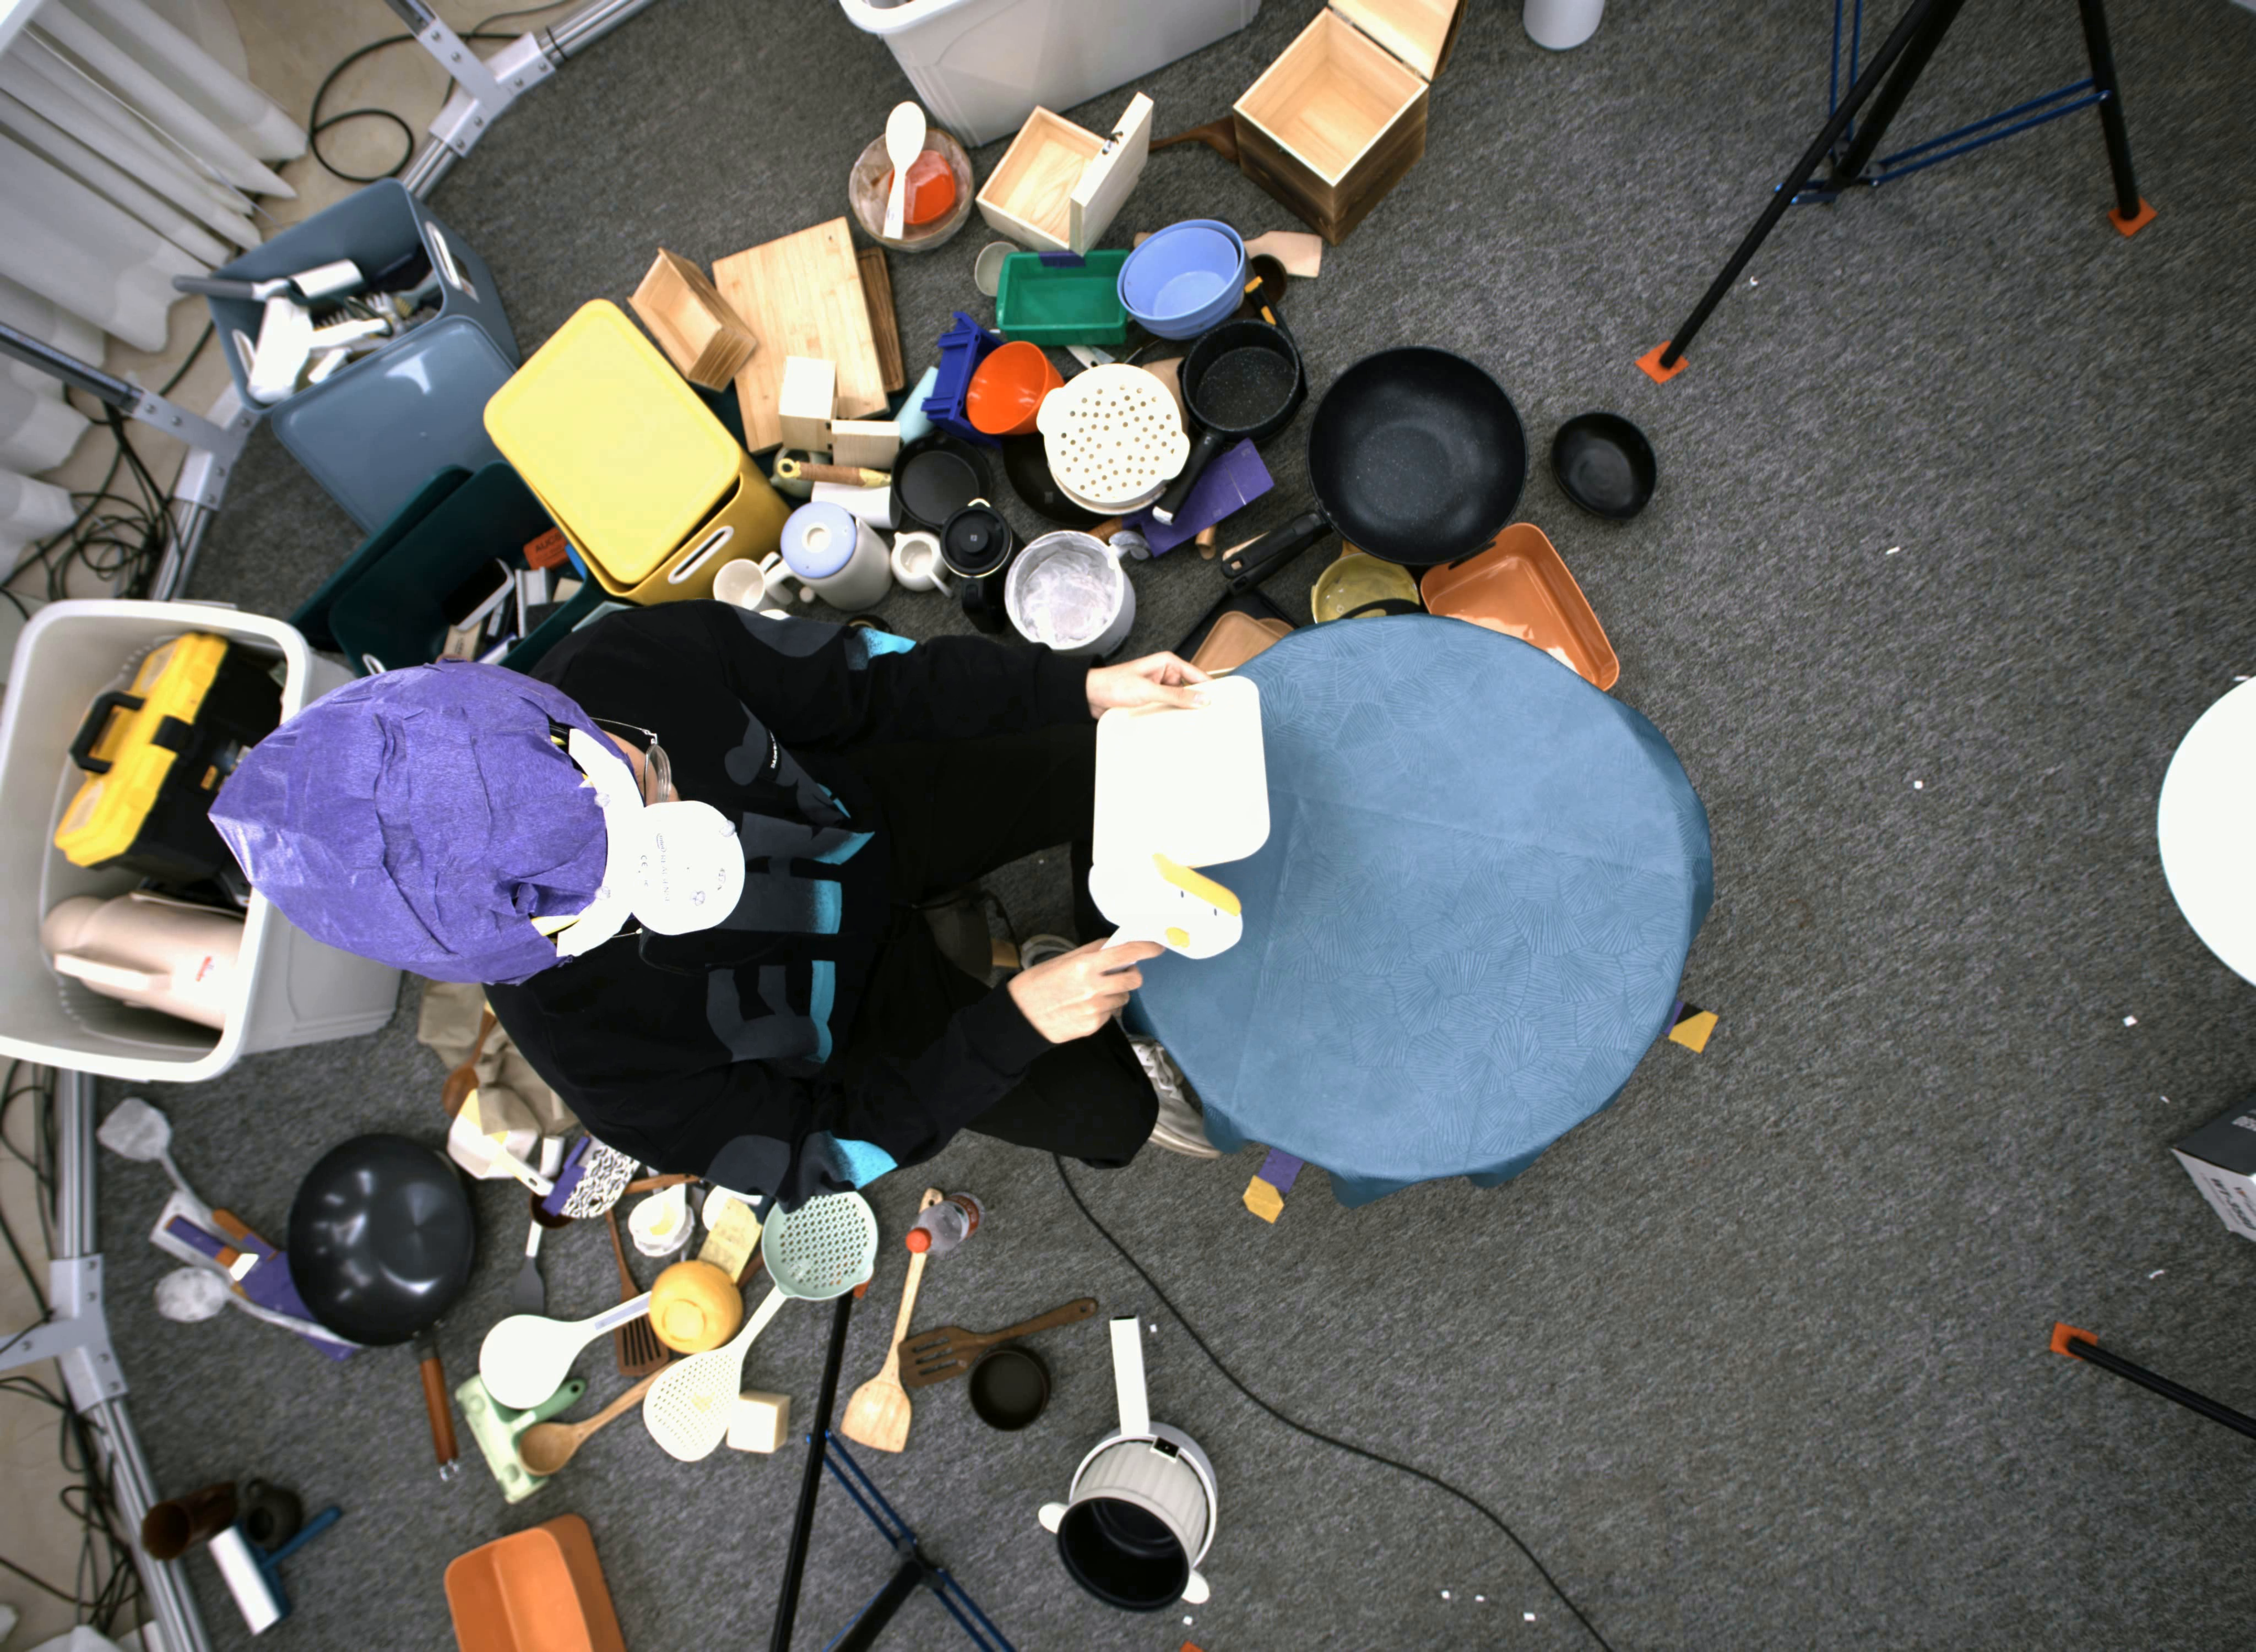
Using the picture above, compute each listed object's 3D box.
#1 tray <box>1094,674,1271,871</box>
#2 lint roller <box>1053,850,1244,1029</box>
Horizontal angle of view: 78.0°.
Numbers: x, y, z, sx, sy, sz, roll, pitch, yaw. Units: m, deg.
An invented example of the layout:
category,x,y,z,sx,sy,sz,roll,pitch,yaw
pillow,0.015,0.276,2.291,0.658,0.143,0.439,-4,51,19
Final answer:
category,x,y,z,sx,sy,sz,roll,pitch,yaw
tray,0.050,-0.048,1.330,0.172,0.018,0.233,-13,48,15
lint roller,-0.003,0.111,1.273,0.195,0.193,0.073,-40,58,22
